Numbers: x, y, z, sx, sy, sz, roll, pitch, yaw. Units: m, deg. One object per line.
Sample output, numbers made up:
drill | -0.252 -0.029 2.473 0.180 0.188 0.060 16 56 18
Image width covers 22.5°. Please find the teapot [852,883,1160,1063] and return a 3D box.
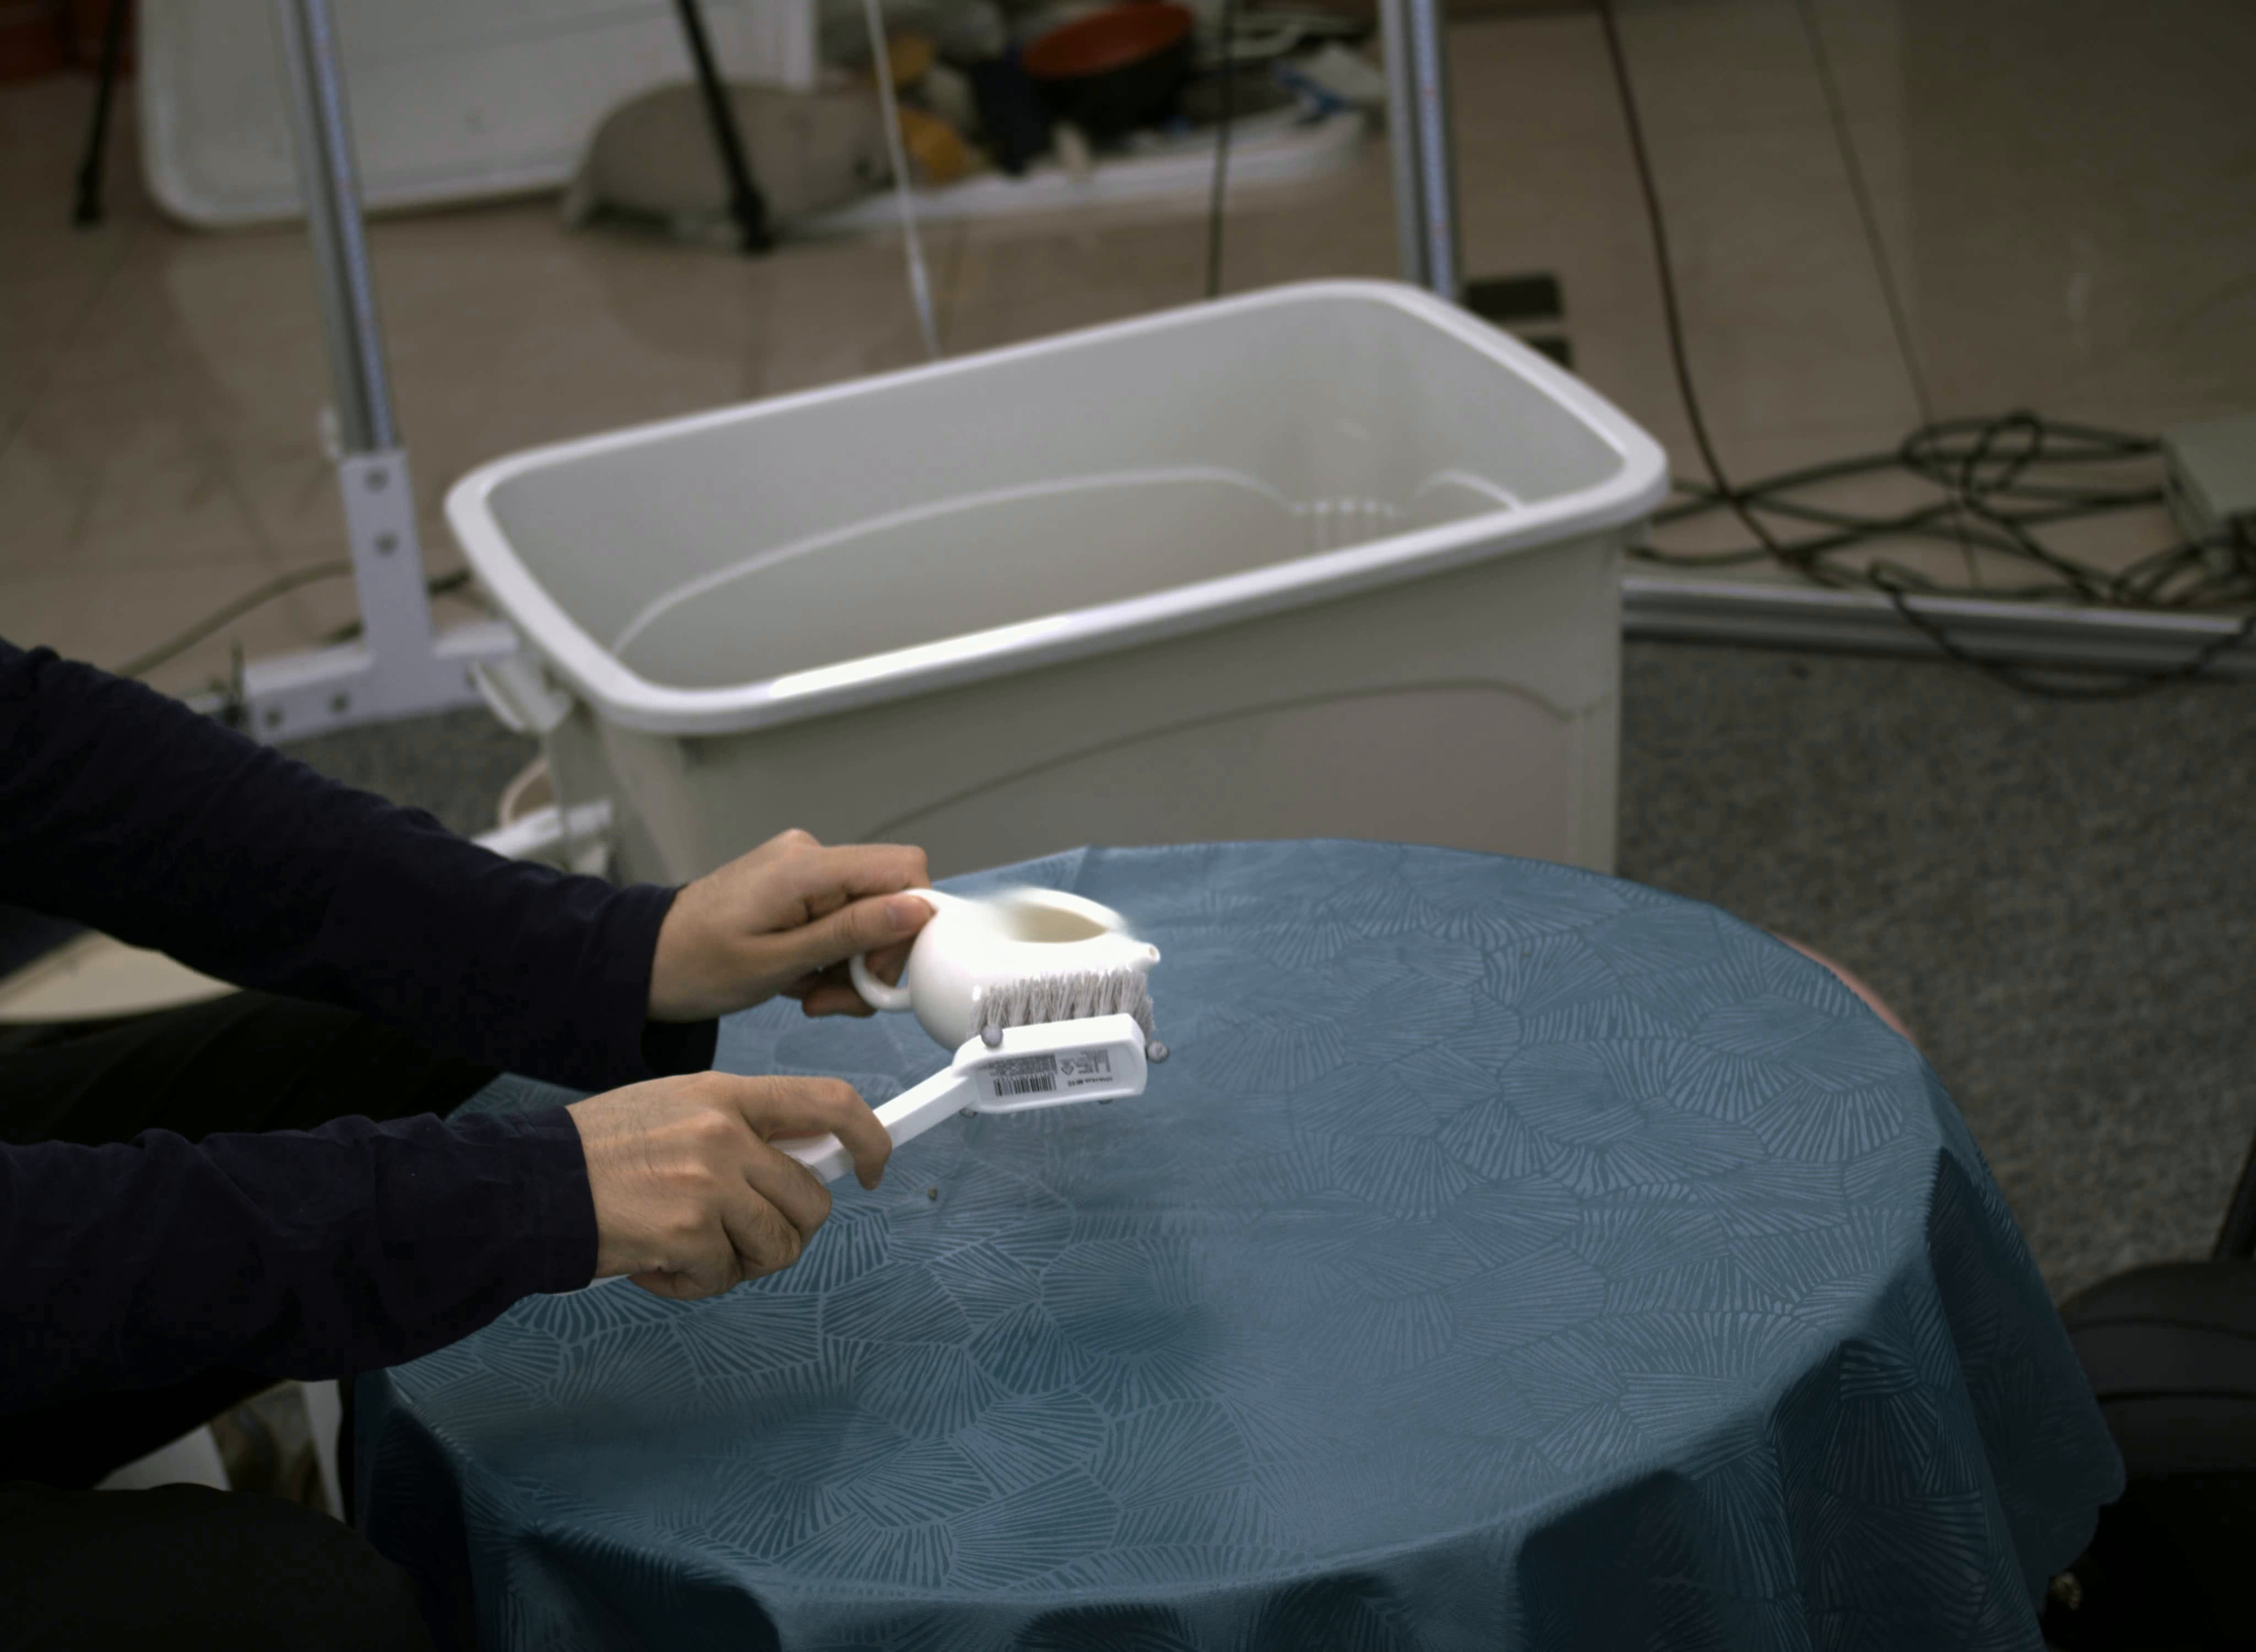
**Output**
teapot | -0.048 0.057 2.172 0.127 0.057 0.092 10 25 16

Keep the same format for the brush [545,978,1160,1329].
brush | -0.100 0.115 2.040 0.243 0.035 0.049 -23 38 -5
